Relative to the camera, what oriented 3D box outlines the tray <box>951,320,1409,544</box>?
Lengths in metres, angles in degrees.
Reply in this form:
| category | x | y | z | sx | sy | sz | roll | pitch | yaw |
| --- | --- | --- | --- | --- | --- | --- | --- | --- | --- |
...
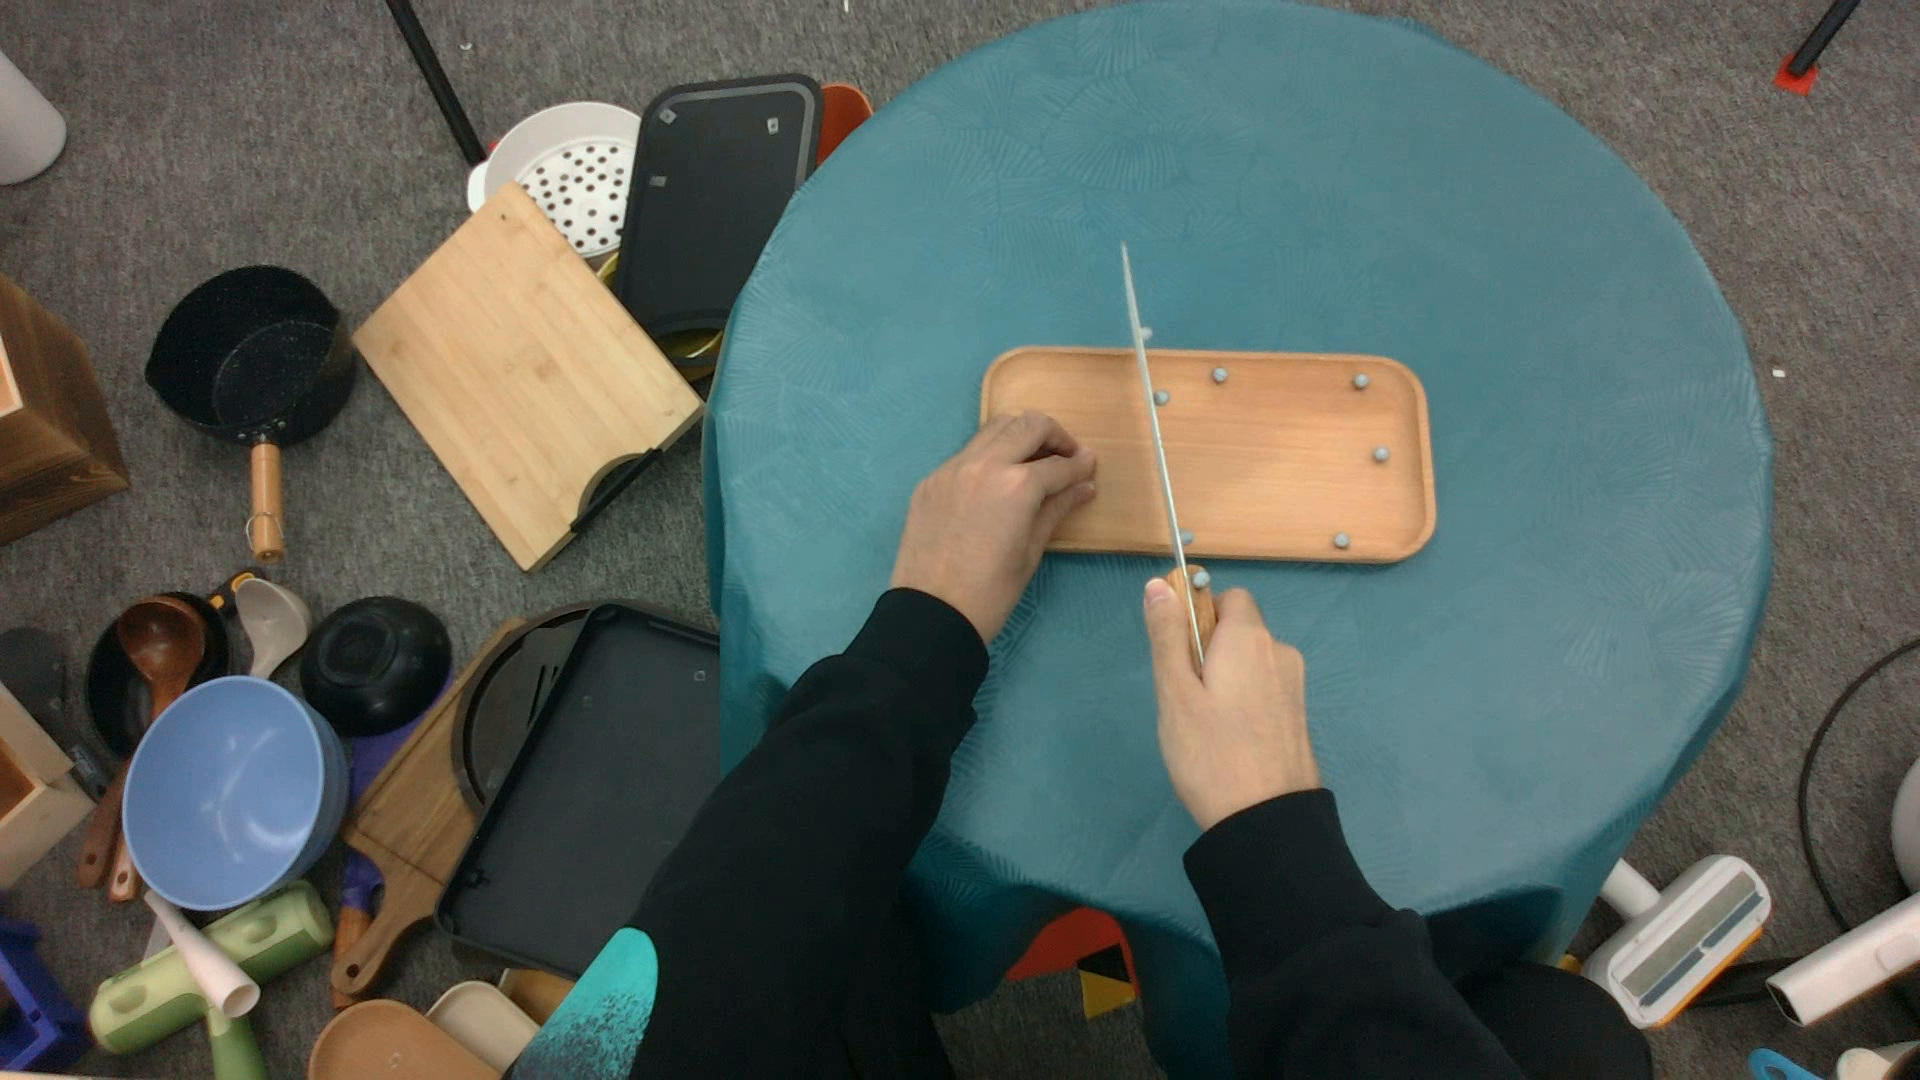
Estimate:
| category | x | y | z | sx | sy | sz | roll | pitch | yaw |
| --- | --- | --- | --- | --- | --- | --- | --- | --- | --- |
| tray | 0.122 | -0.061 | 0.773 | 0.250 | 0.023 | 0.131 | 3 | 65 | 3 |

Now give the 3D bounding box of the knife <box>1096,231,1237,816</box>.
| category | x | y | z | sx | sy | sz | roll | pitch | yaw |
| --- | --- | --- | --- | --- | --- | --- | --- | --- | --- |
| knife | 0.097 | -0.009 | 0.689 | 0.021 | 0.092 | 0.306 | -11 | 67 | 6 |
